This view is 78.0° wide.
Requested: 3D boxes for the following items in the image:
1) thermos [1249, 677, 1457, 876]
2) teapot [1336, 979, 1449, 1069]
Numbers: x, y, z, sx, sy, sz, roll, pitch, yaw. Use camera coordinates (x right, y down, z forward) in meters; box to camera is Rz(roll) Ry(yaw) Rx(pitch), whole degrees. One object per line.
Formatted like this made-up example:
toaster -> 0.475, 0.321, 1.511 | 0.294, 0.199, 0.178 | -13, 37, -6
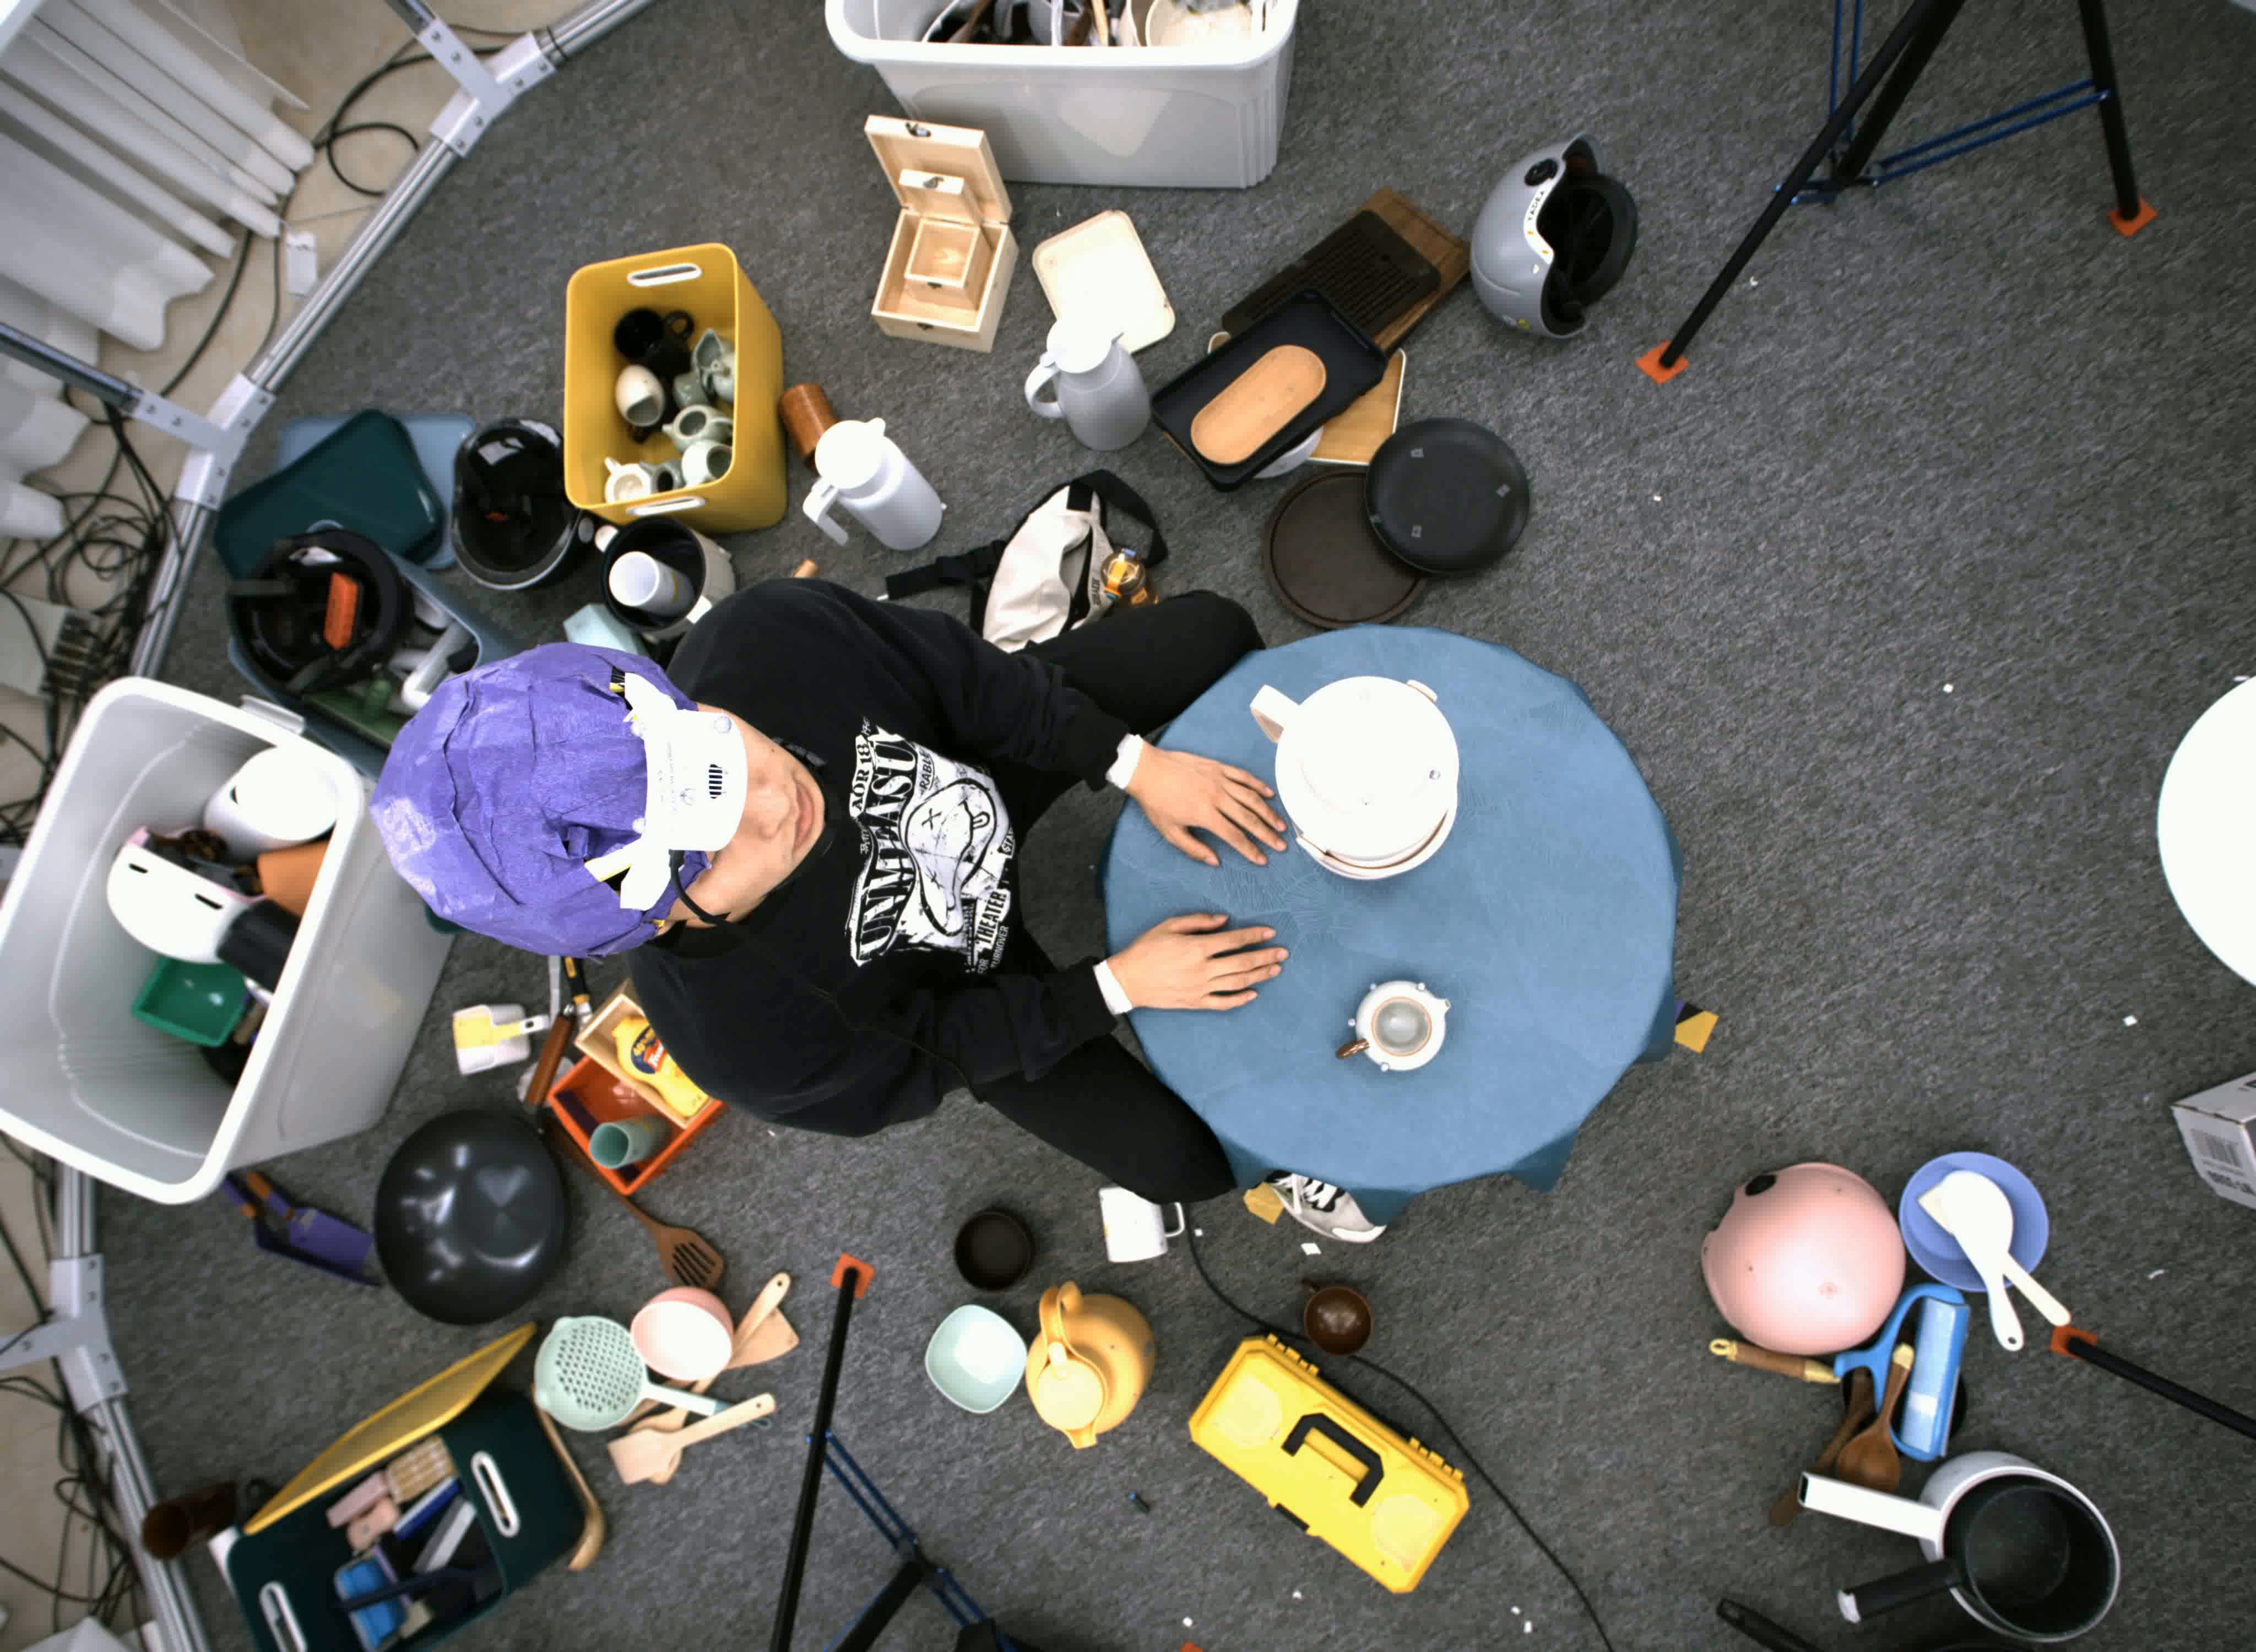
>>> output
thermos -> 0.209, -0.053, 1.278 | 0.206, 0.406, 0.176 | 35, 93, 11
teapot -> 0.272, 0.207, 1.425 | 0.129, 0.059, 0.091 | -30, 84, 7
